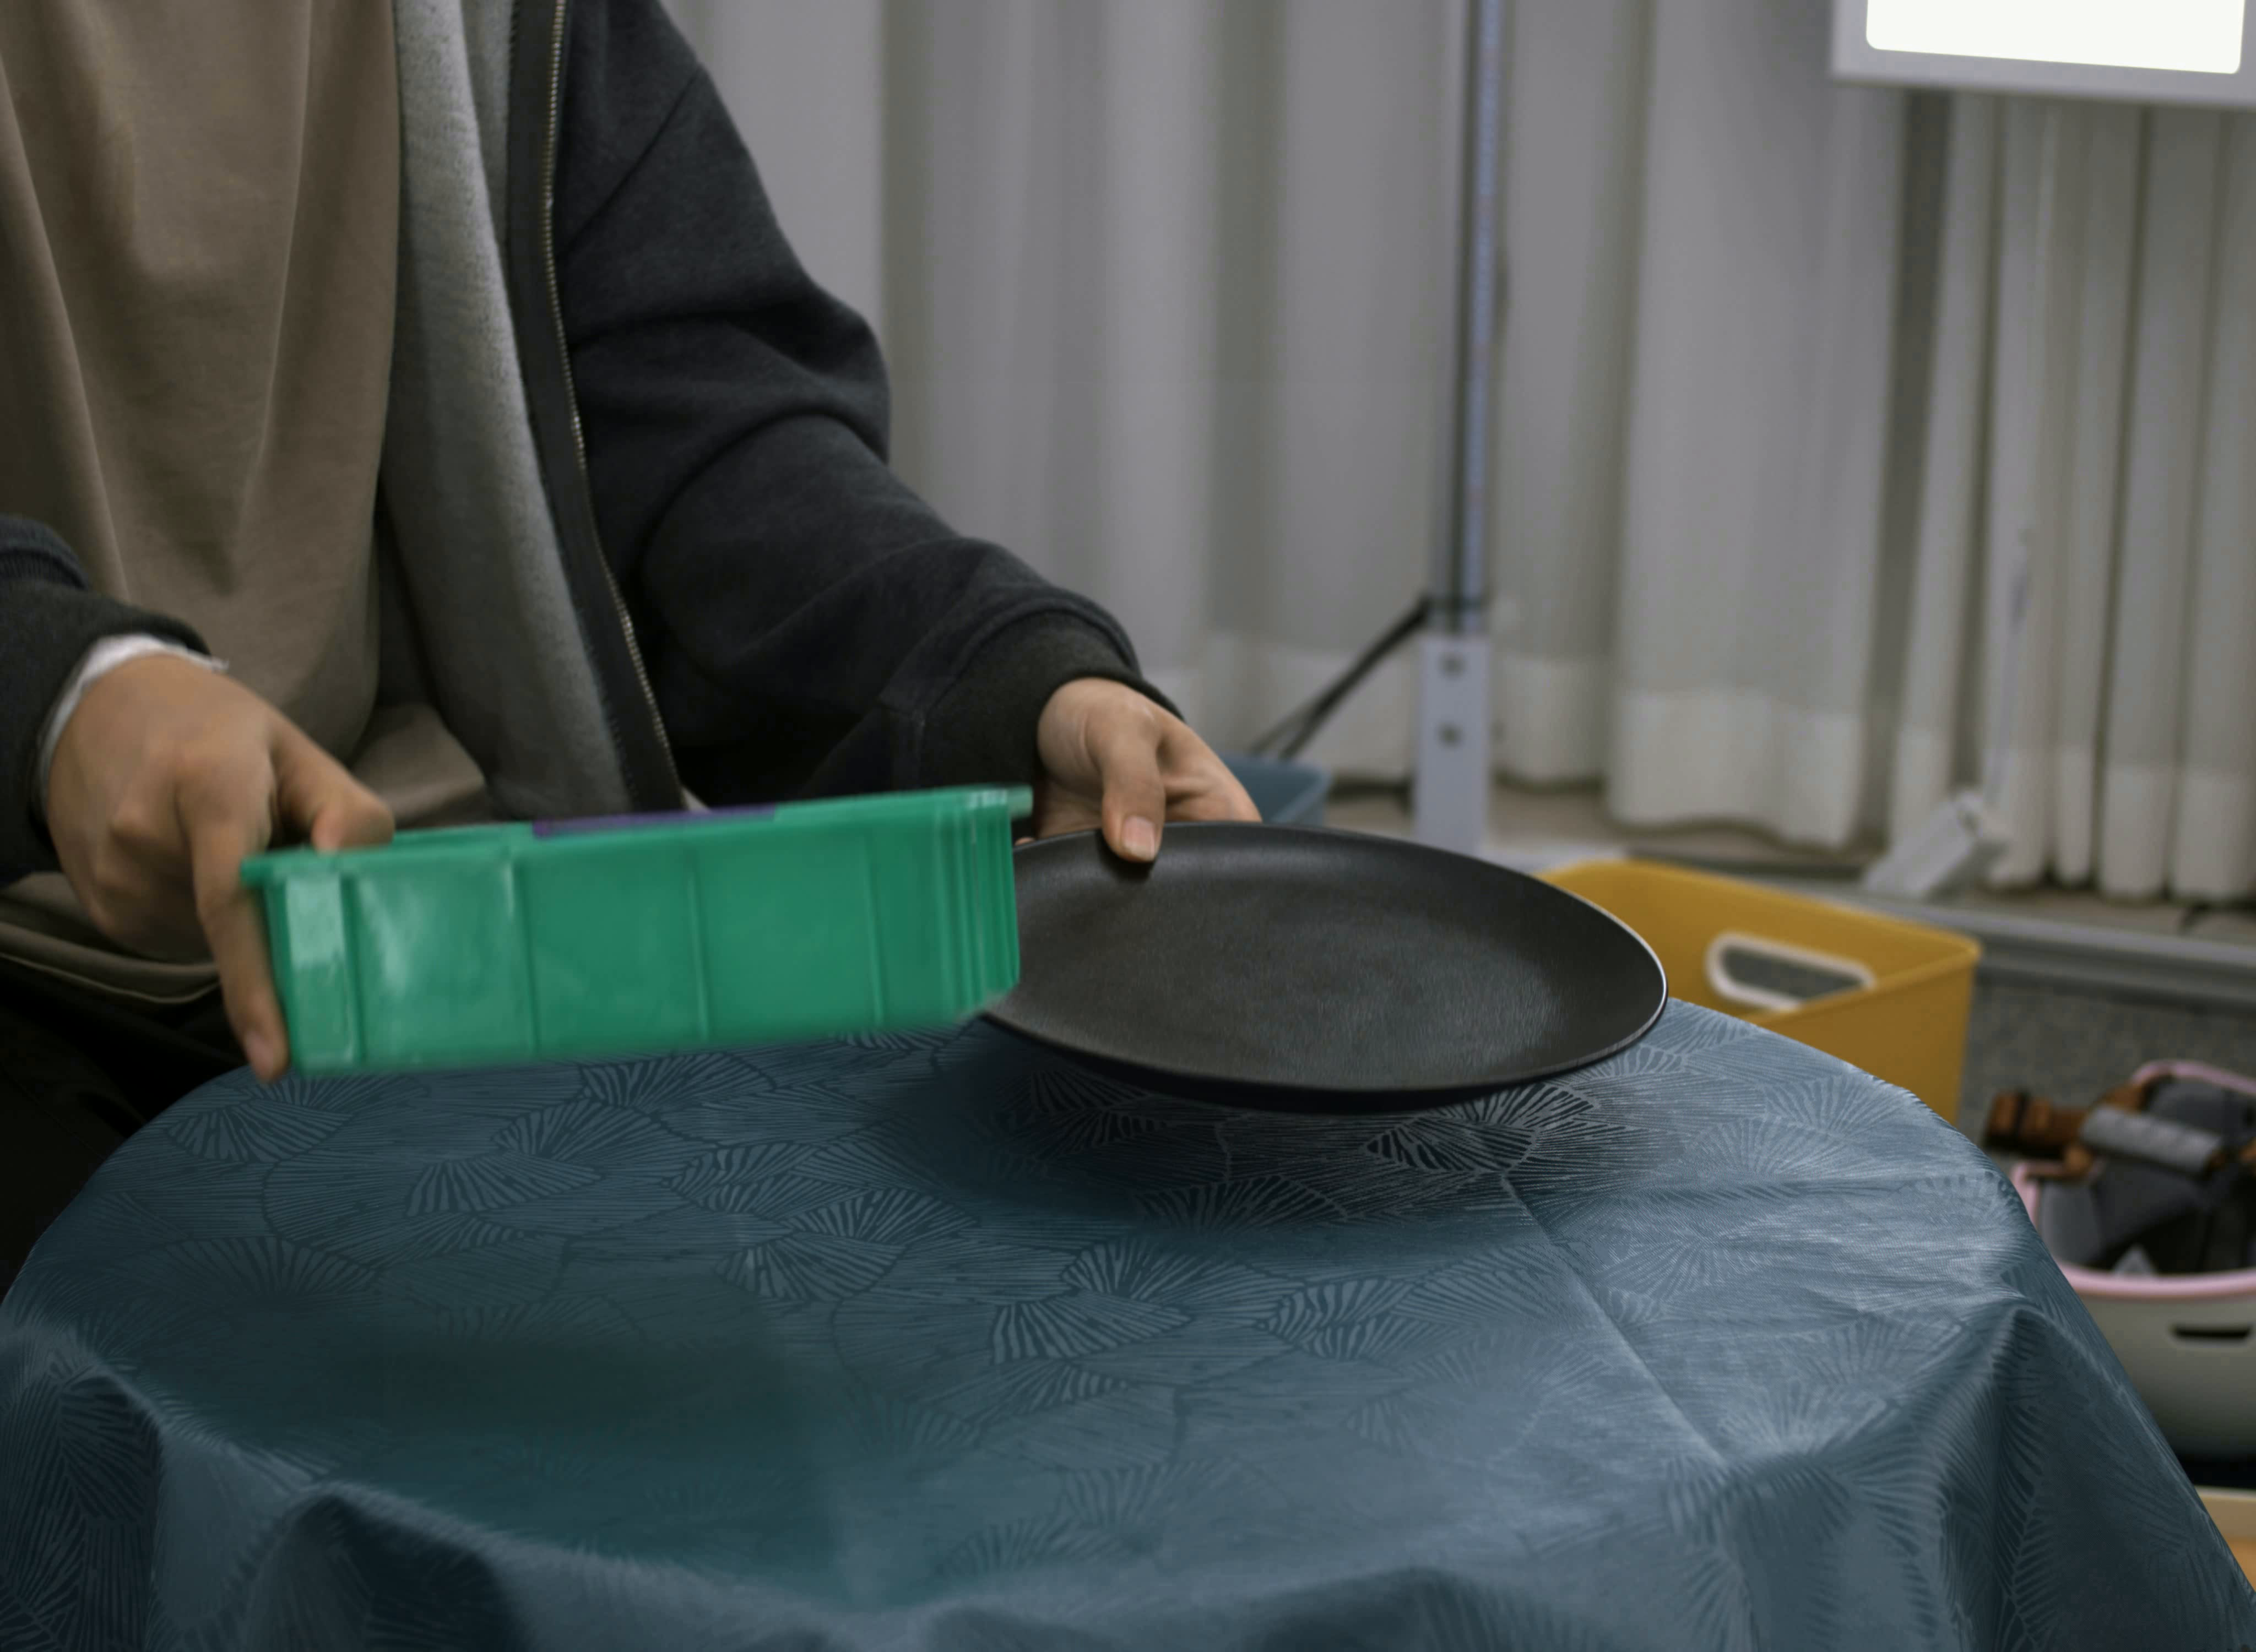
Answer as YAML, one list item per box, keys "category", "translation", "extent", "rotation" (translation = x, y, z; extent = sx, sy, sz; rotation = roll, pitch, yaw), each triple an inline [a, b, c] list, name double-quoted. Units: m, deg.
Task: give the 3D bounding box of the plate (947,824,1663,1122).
- category: "plate"
  translation: [0.050, 0.050, 1.689]
  extent: [0.244, 0.023, 0.243]
  rotation: [5, 20, -1]

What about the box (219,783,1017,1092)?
- category: "box"
  translation: [-0.134, 0.030, 1.444]
  extent: [0.209, 0.065, 0.139]
  rotation: [-6, 0, 5]
